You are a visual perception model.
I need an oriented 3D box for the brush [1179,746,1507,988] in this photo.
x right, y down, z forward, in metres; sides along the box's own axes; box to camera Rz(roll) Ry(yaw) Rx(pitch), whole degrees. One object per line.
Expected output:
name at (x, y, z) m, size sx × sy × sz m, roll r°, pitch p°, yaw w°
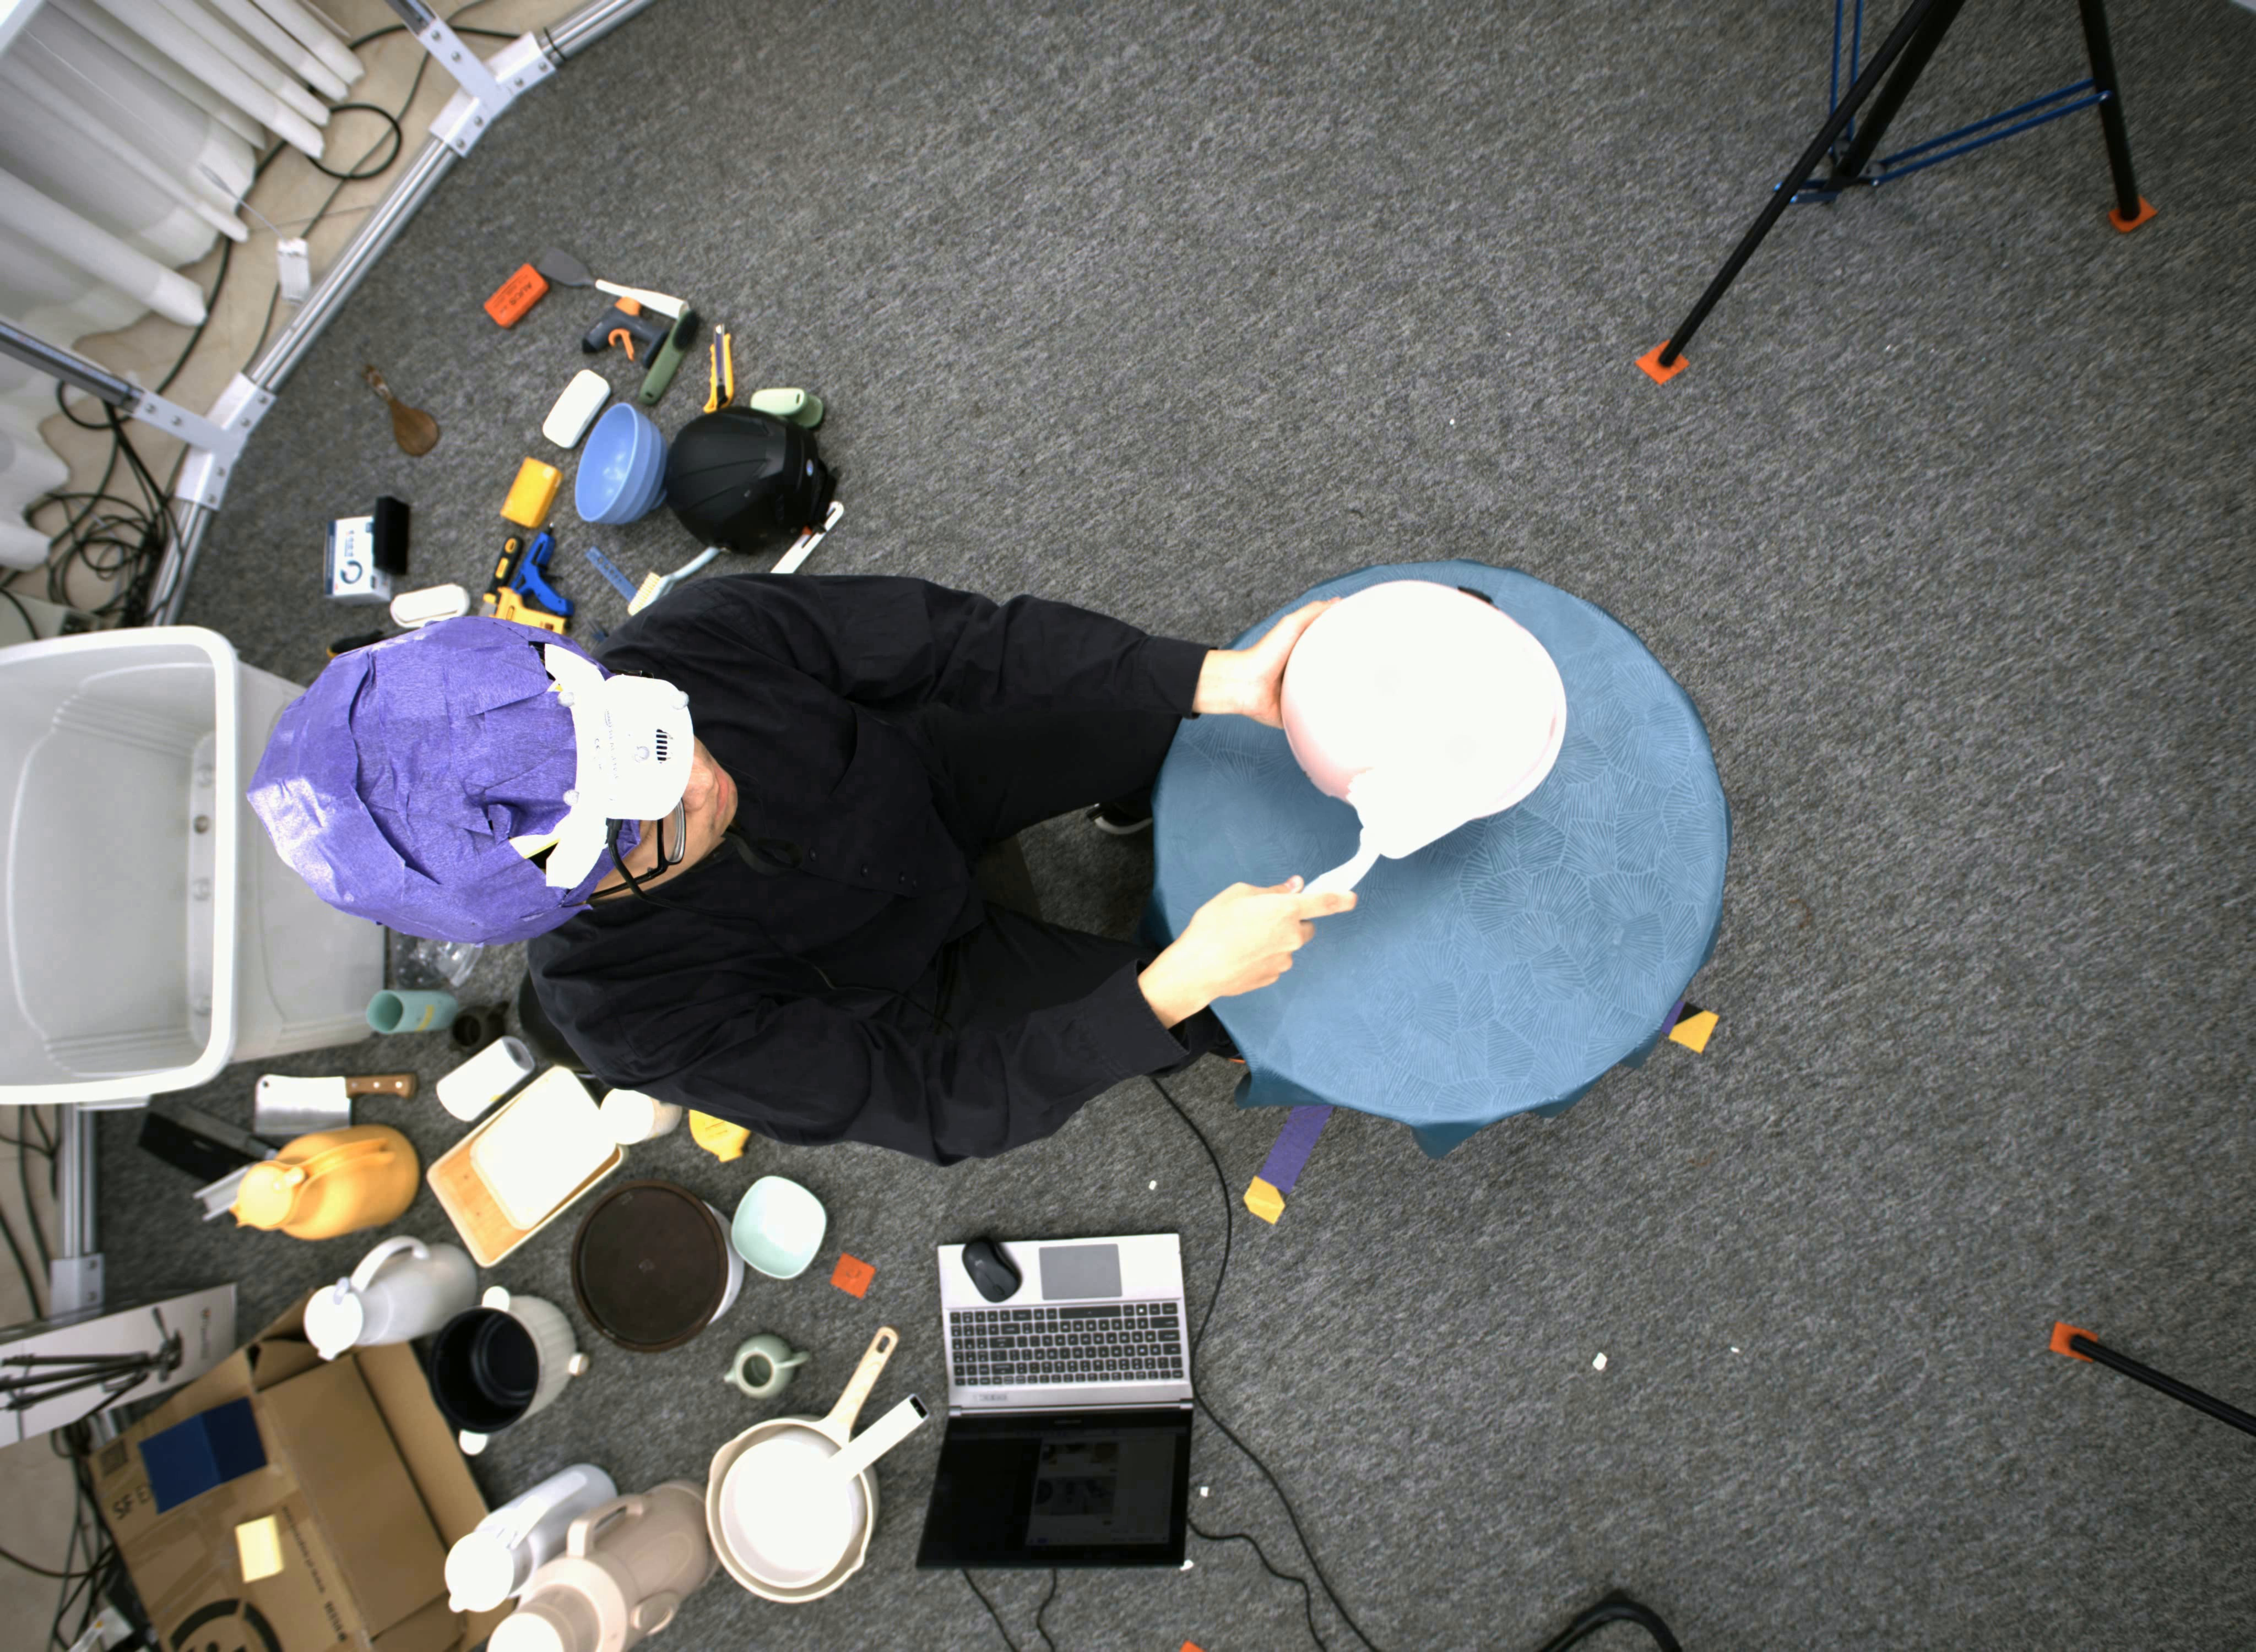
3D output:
brush at (0.172, 0.027, 1.172) m, size 0.326 × 0.085 × 0.082 m, roll -33°, pitch 76°, yaw 2°

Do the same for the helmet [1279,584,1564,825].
helmet at (0.263, -0.115, 1.239) m, size 0.266 × 0.158 × 0.234 m, roll 14°, pitch 91°, yaw 13°
